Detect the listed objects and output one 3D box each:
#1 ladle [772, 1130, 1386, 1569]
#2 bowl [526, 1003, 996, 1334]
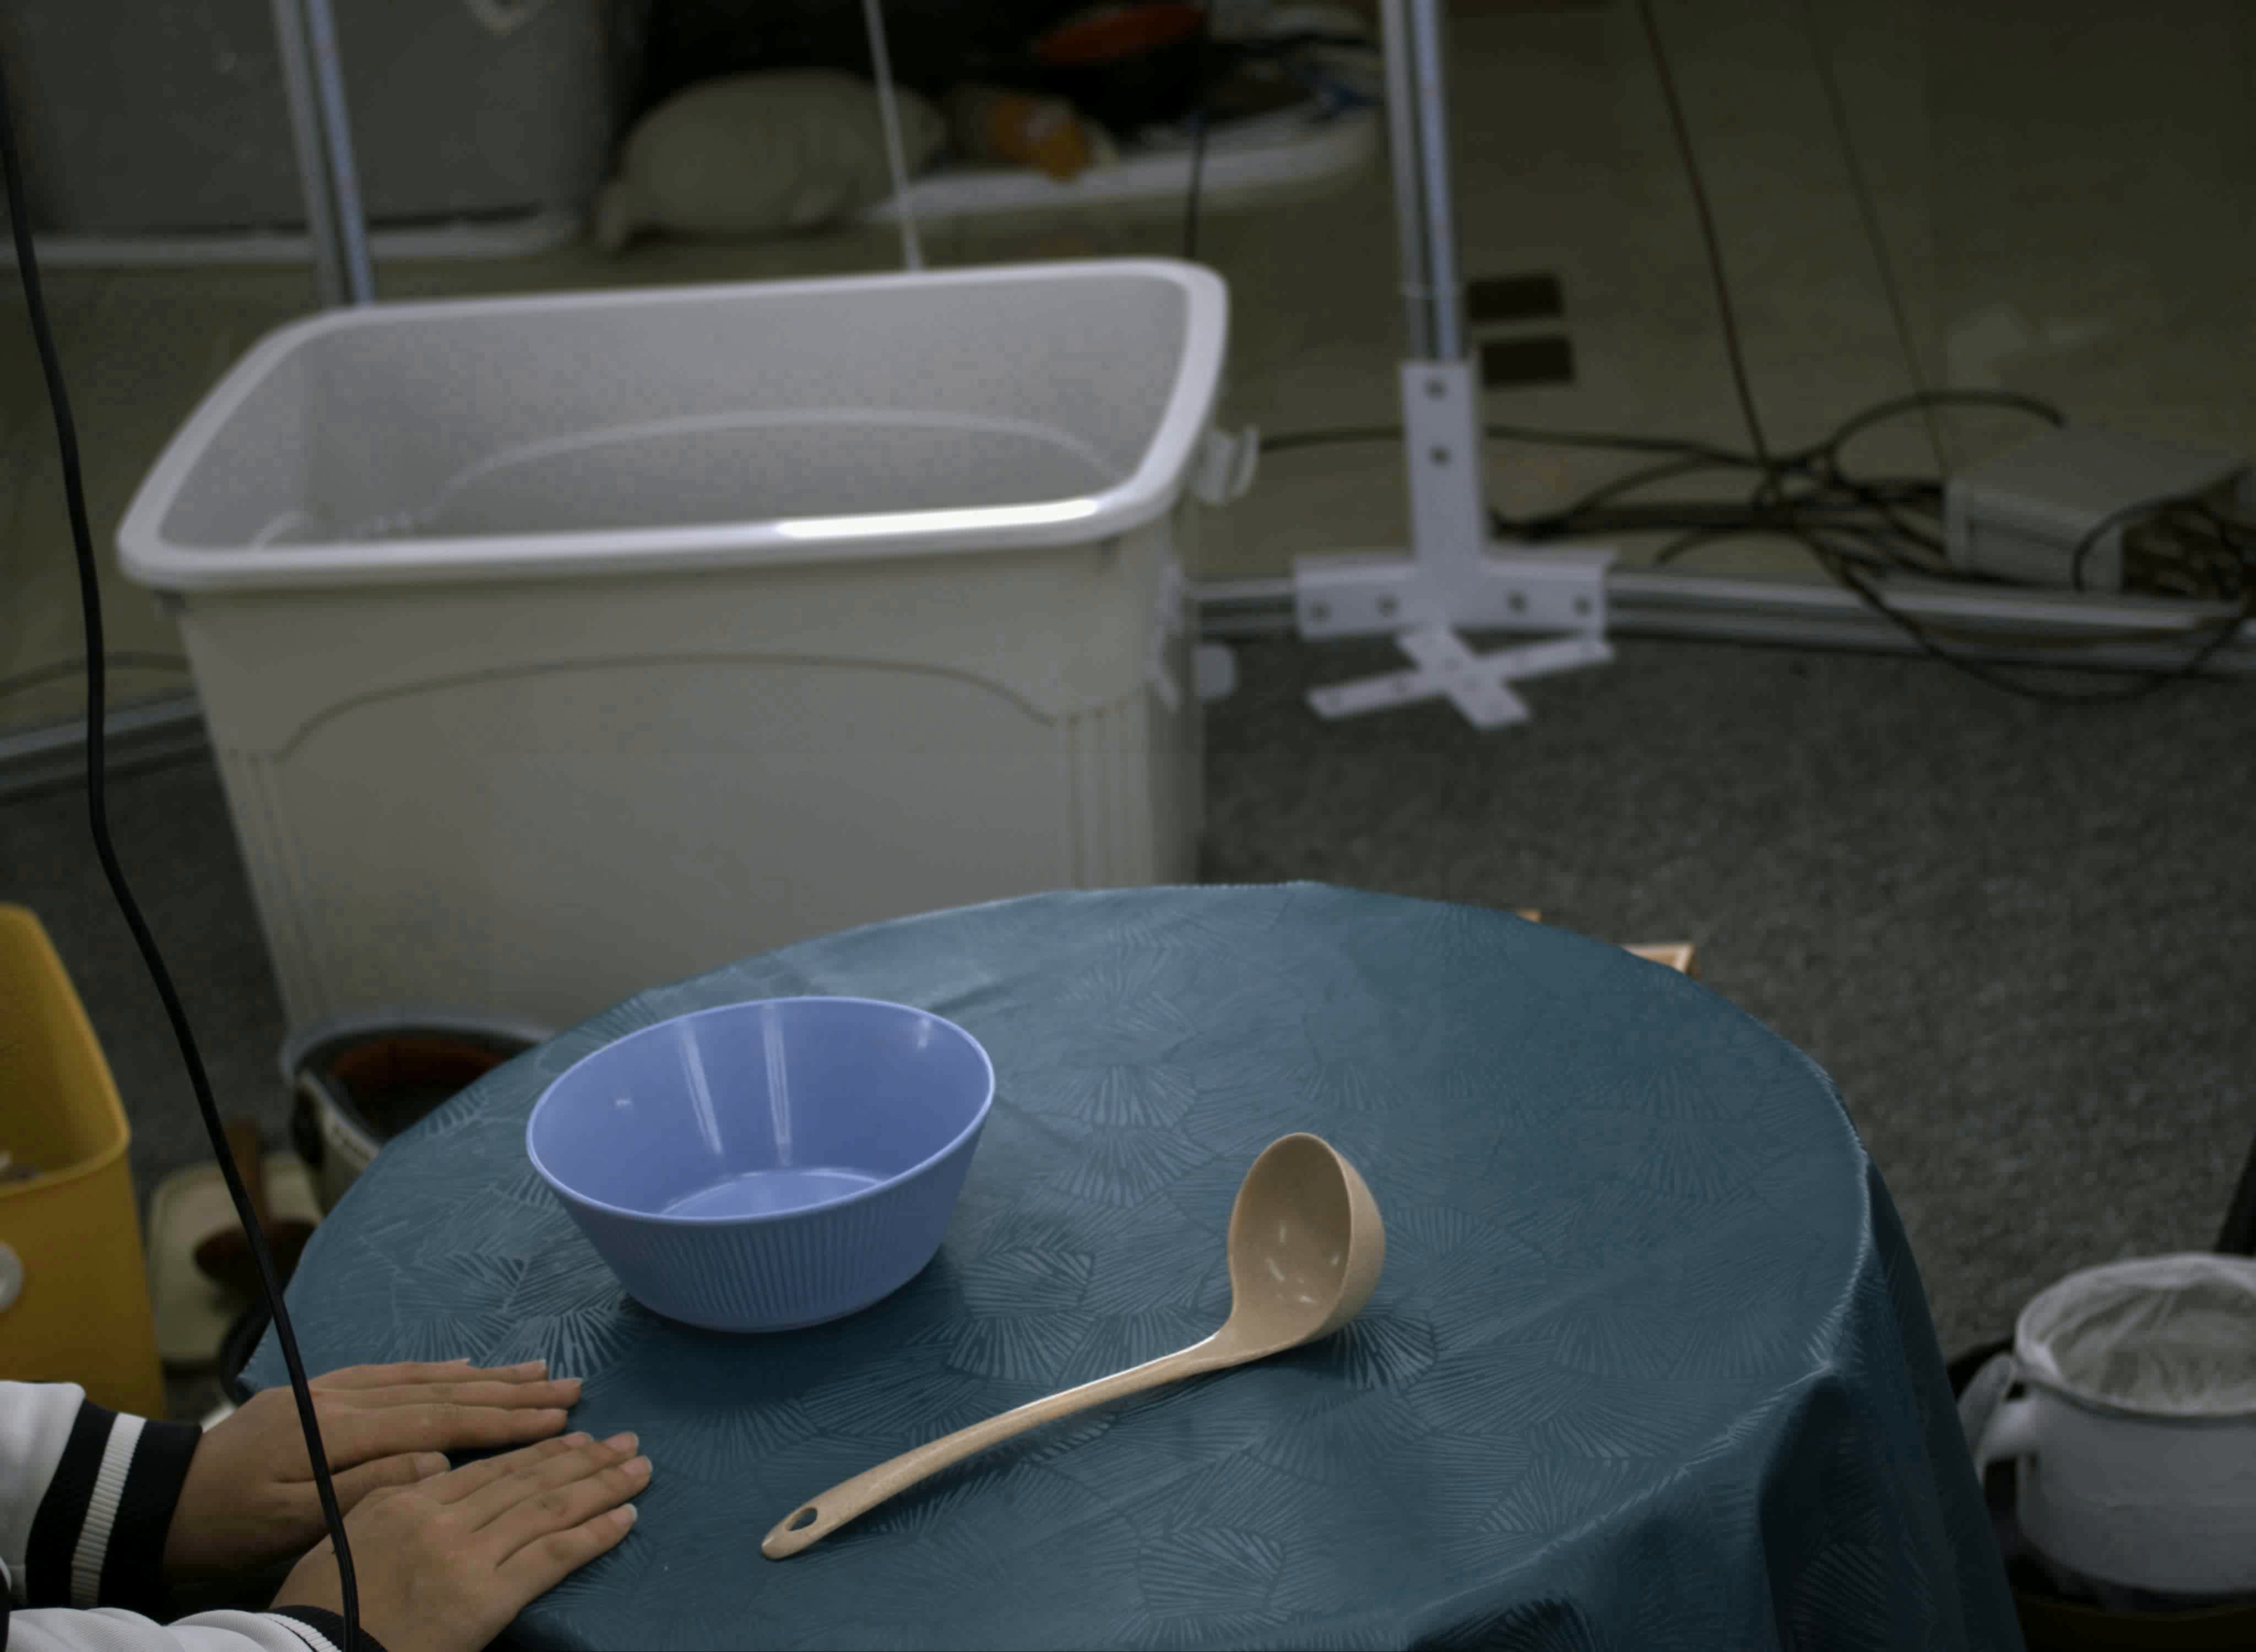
[{"bbox_3d":[-0.021,0.179,1.980,0.253,0.074,0.071,-21,29,-29],"label":"ladle"},{"bbox_3d":[-0.132,0.133,2.110,0.176,0.071,0.173,-6,24,3],"label":"bowl"}]
